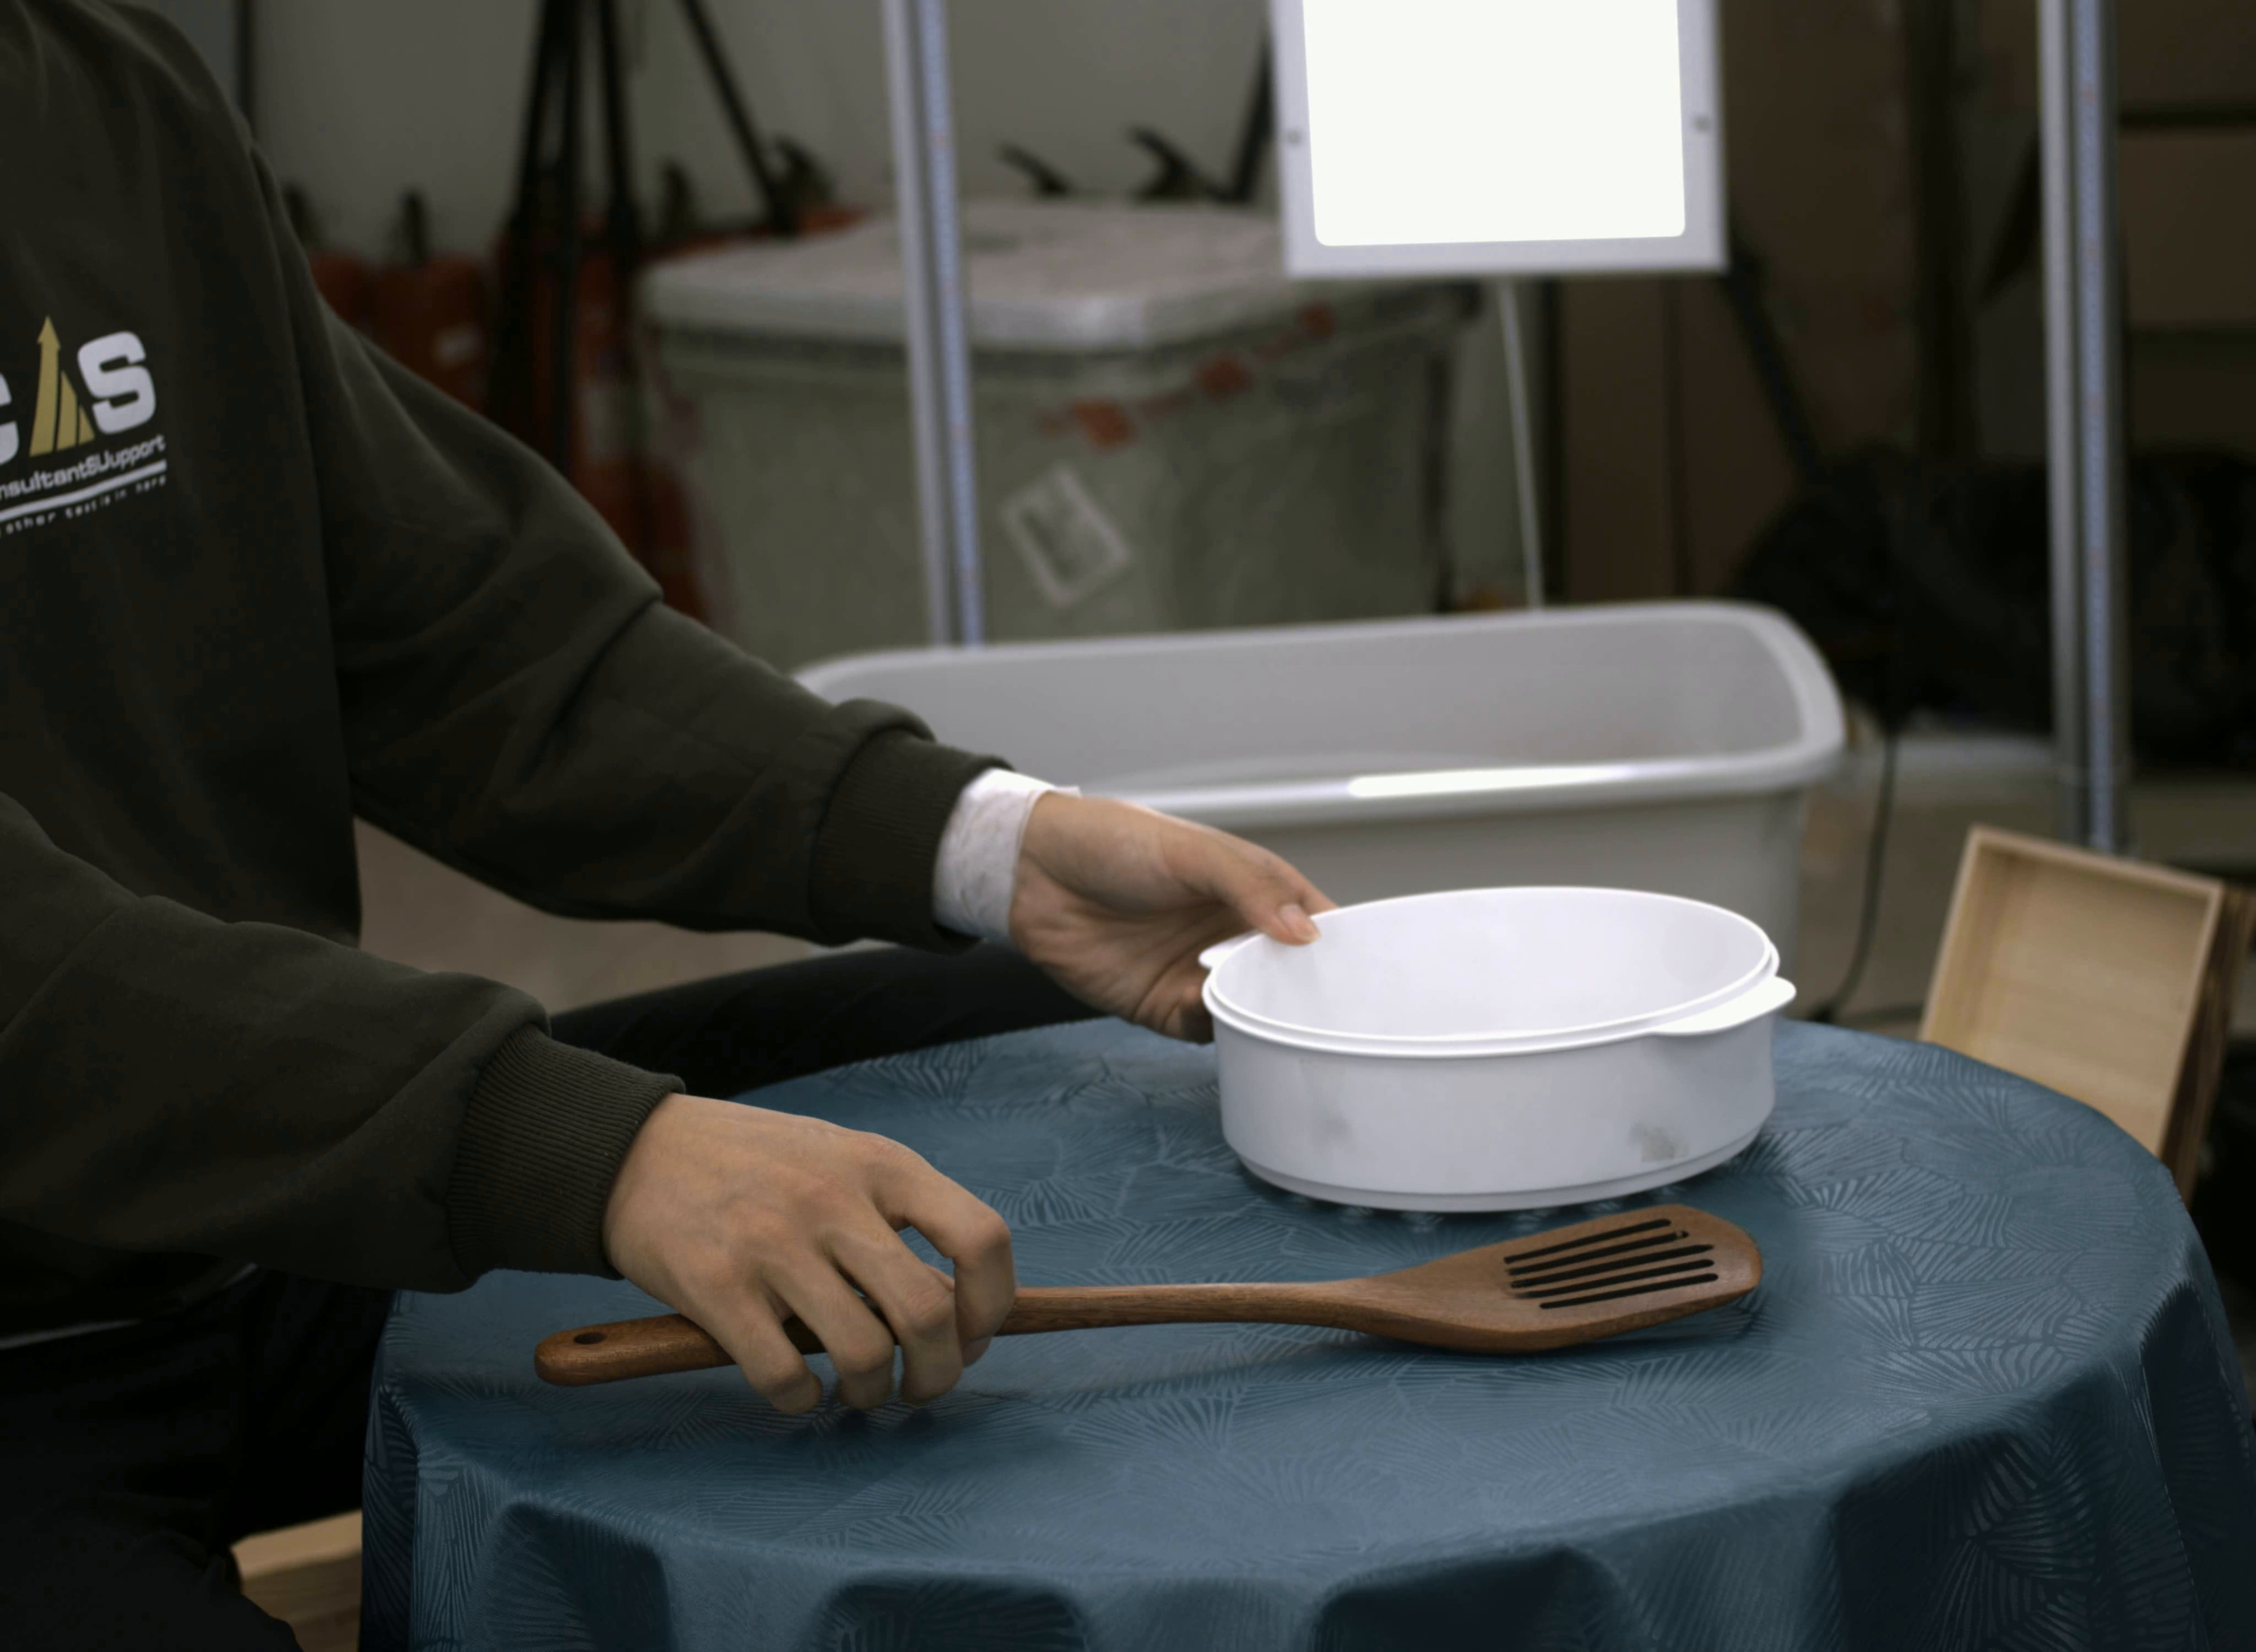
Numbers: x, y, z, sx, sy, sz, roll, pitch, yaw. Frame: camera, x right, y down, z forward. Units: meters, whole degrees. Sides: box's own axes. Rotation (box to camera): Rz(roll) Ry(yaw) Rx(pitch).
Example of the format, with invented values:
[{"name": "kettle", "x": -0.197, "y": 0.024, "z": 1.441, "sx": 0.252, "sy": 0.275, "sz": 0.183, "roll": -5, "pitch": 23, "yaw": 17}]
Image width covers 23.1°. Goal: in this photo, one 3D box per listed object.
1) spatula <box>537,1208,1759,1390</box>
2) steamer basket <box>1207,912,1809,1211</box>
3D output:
[{"name": "spatula", "x": 0.008, "y": 0.153, "z": 1.713, "sx": 0.381, "sy": 0.024, "sz": 0.086, "roll": -4, "pitch": 15, "yaw": -8}, {"name": "steamer basket", "x": 0.132, "y": 0.081, "z": 1.907, "sx": 0.235, "sy": 0.069, "sz": 0.197, "roll": 3, "pitch": 13, "yaw": 42}]
